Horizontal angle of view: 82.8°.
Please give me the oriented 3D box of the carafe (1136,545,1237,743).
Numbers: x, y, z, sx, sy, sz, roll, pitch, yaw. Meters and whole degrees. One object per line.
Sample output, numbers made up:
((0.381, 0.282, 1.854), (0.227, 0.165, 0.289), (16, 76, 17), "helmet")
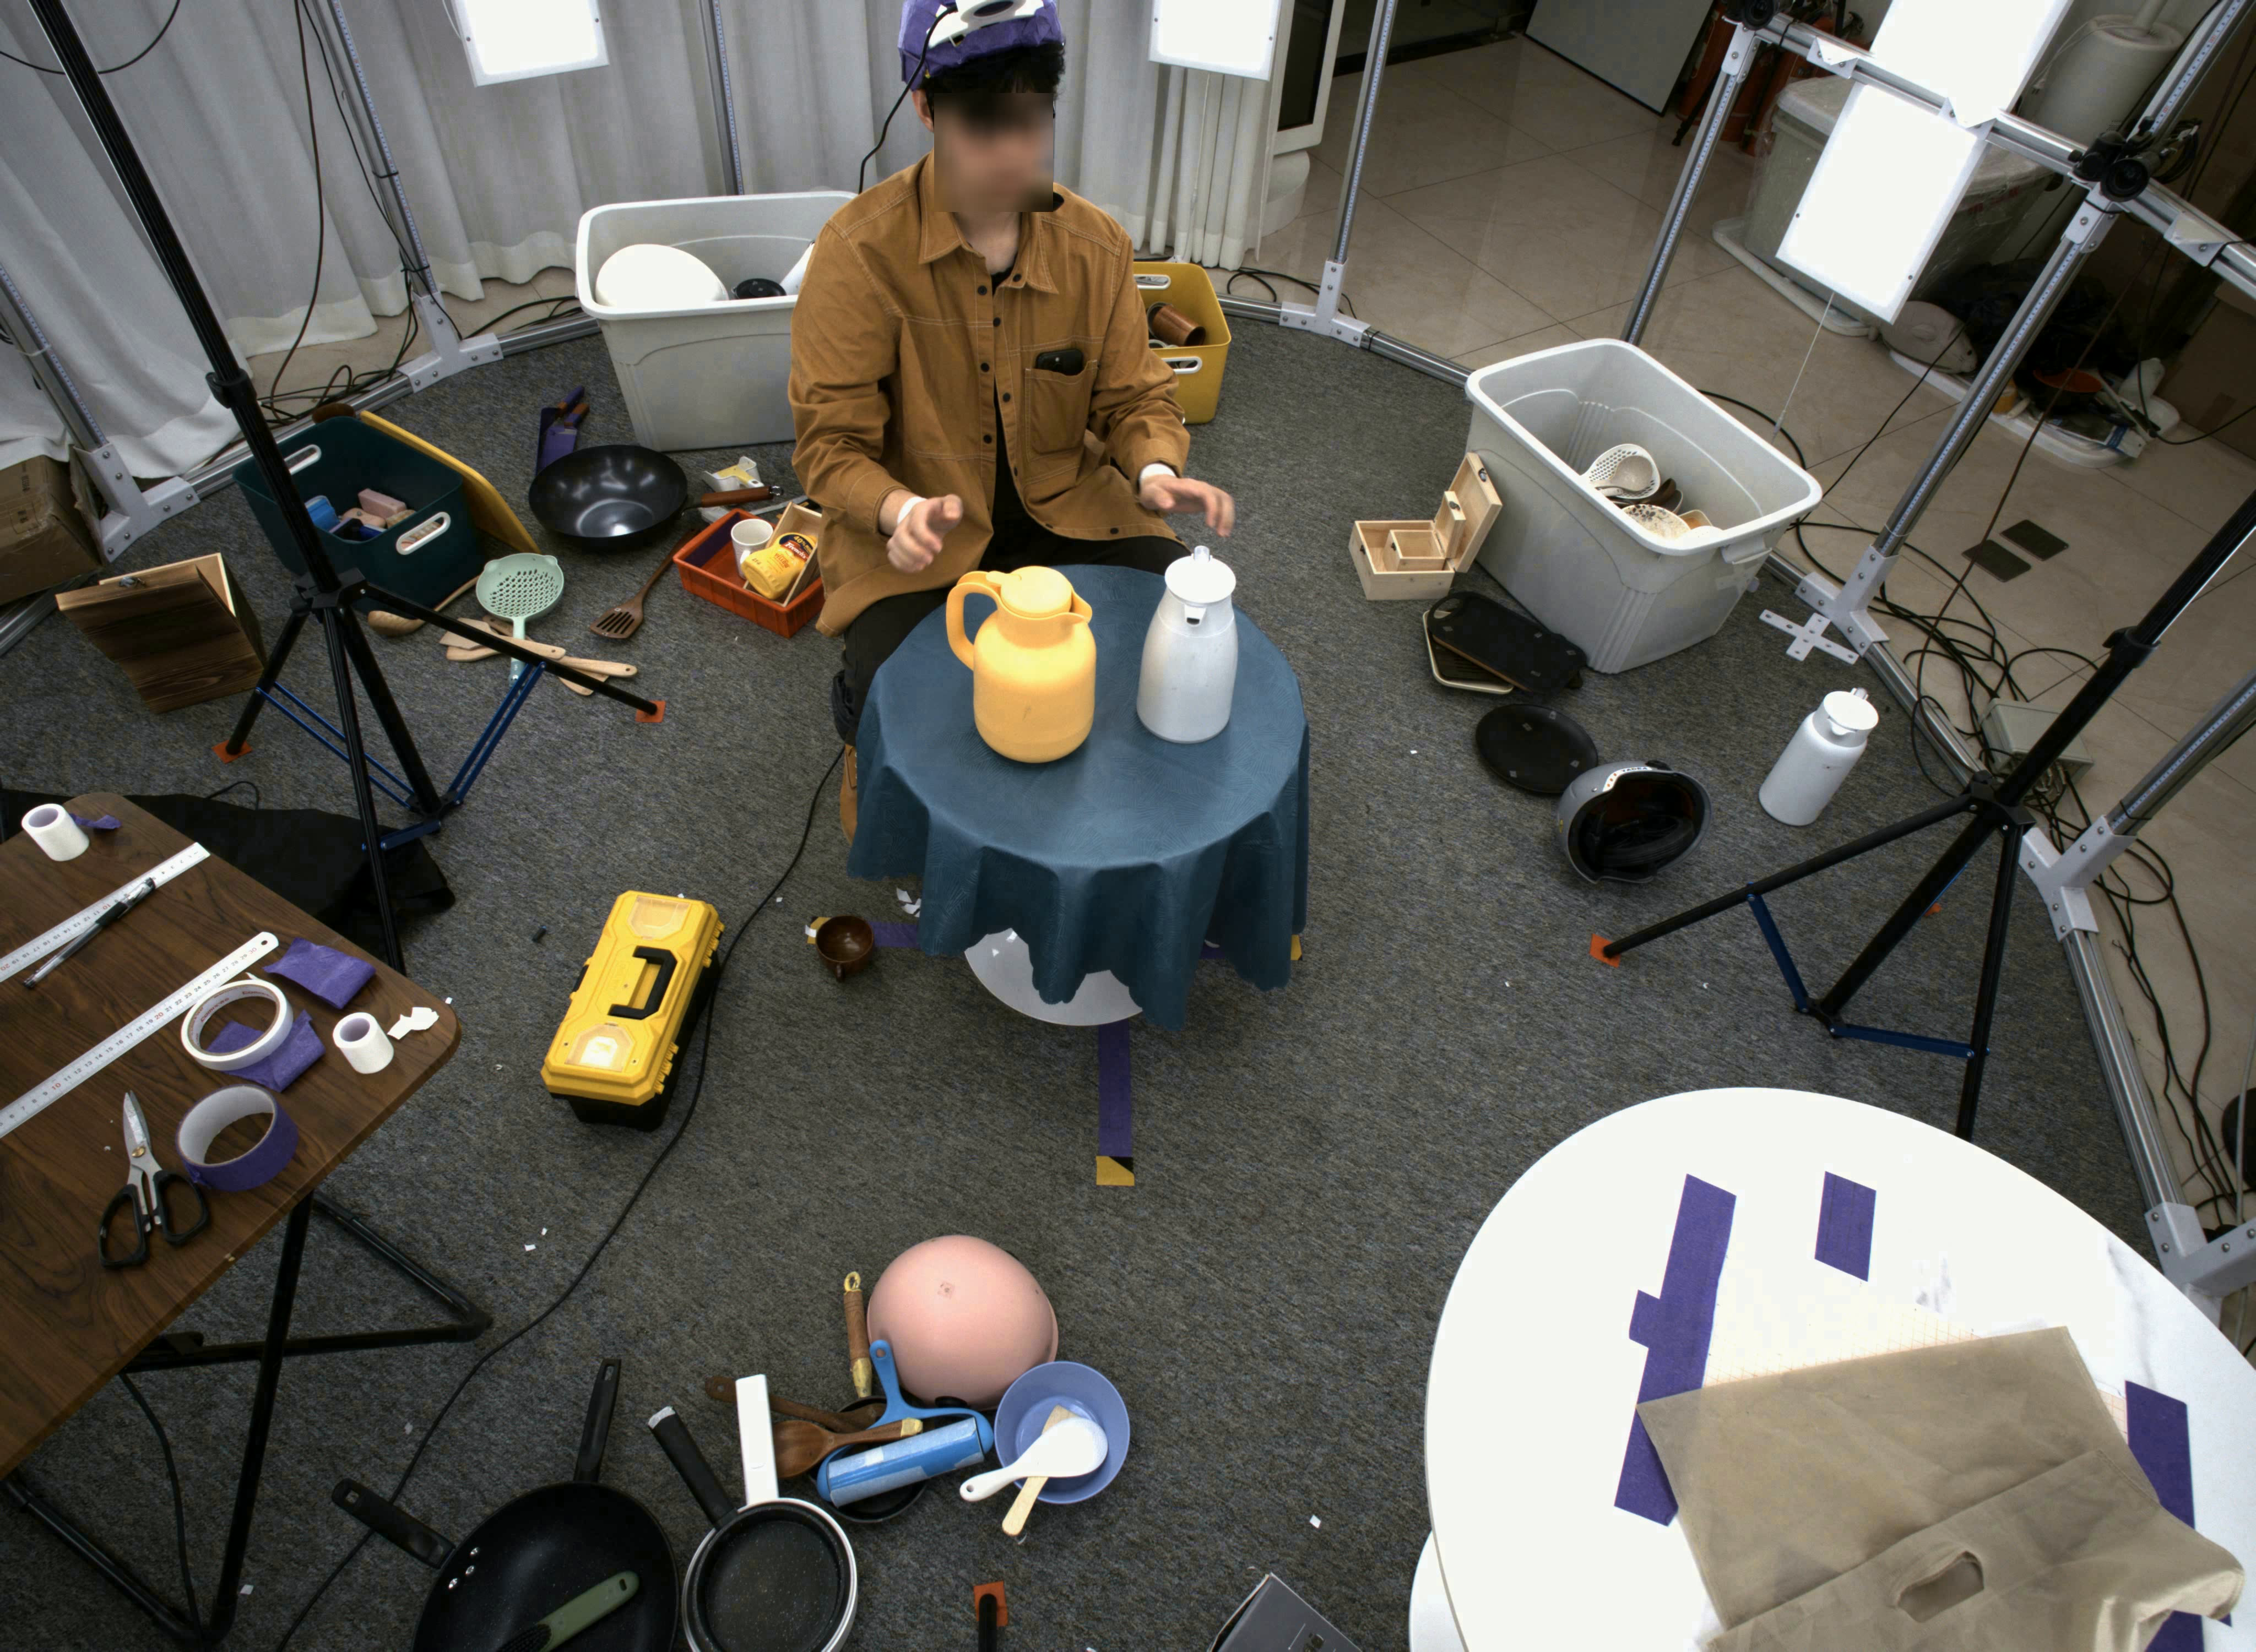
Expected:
((0.086, -0.257, 1.738), (0.132, 0.242, 0.172), (8, 49, 3), "carafe")

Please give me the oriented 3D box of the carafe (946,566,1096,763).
((-0.141, -0.223, 1.687), (0.203, 0.254, 0.166), (22, 49, 12), "carafe")
